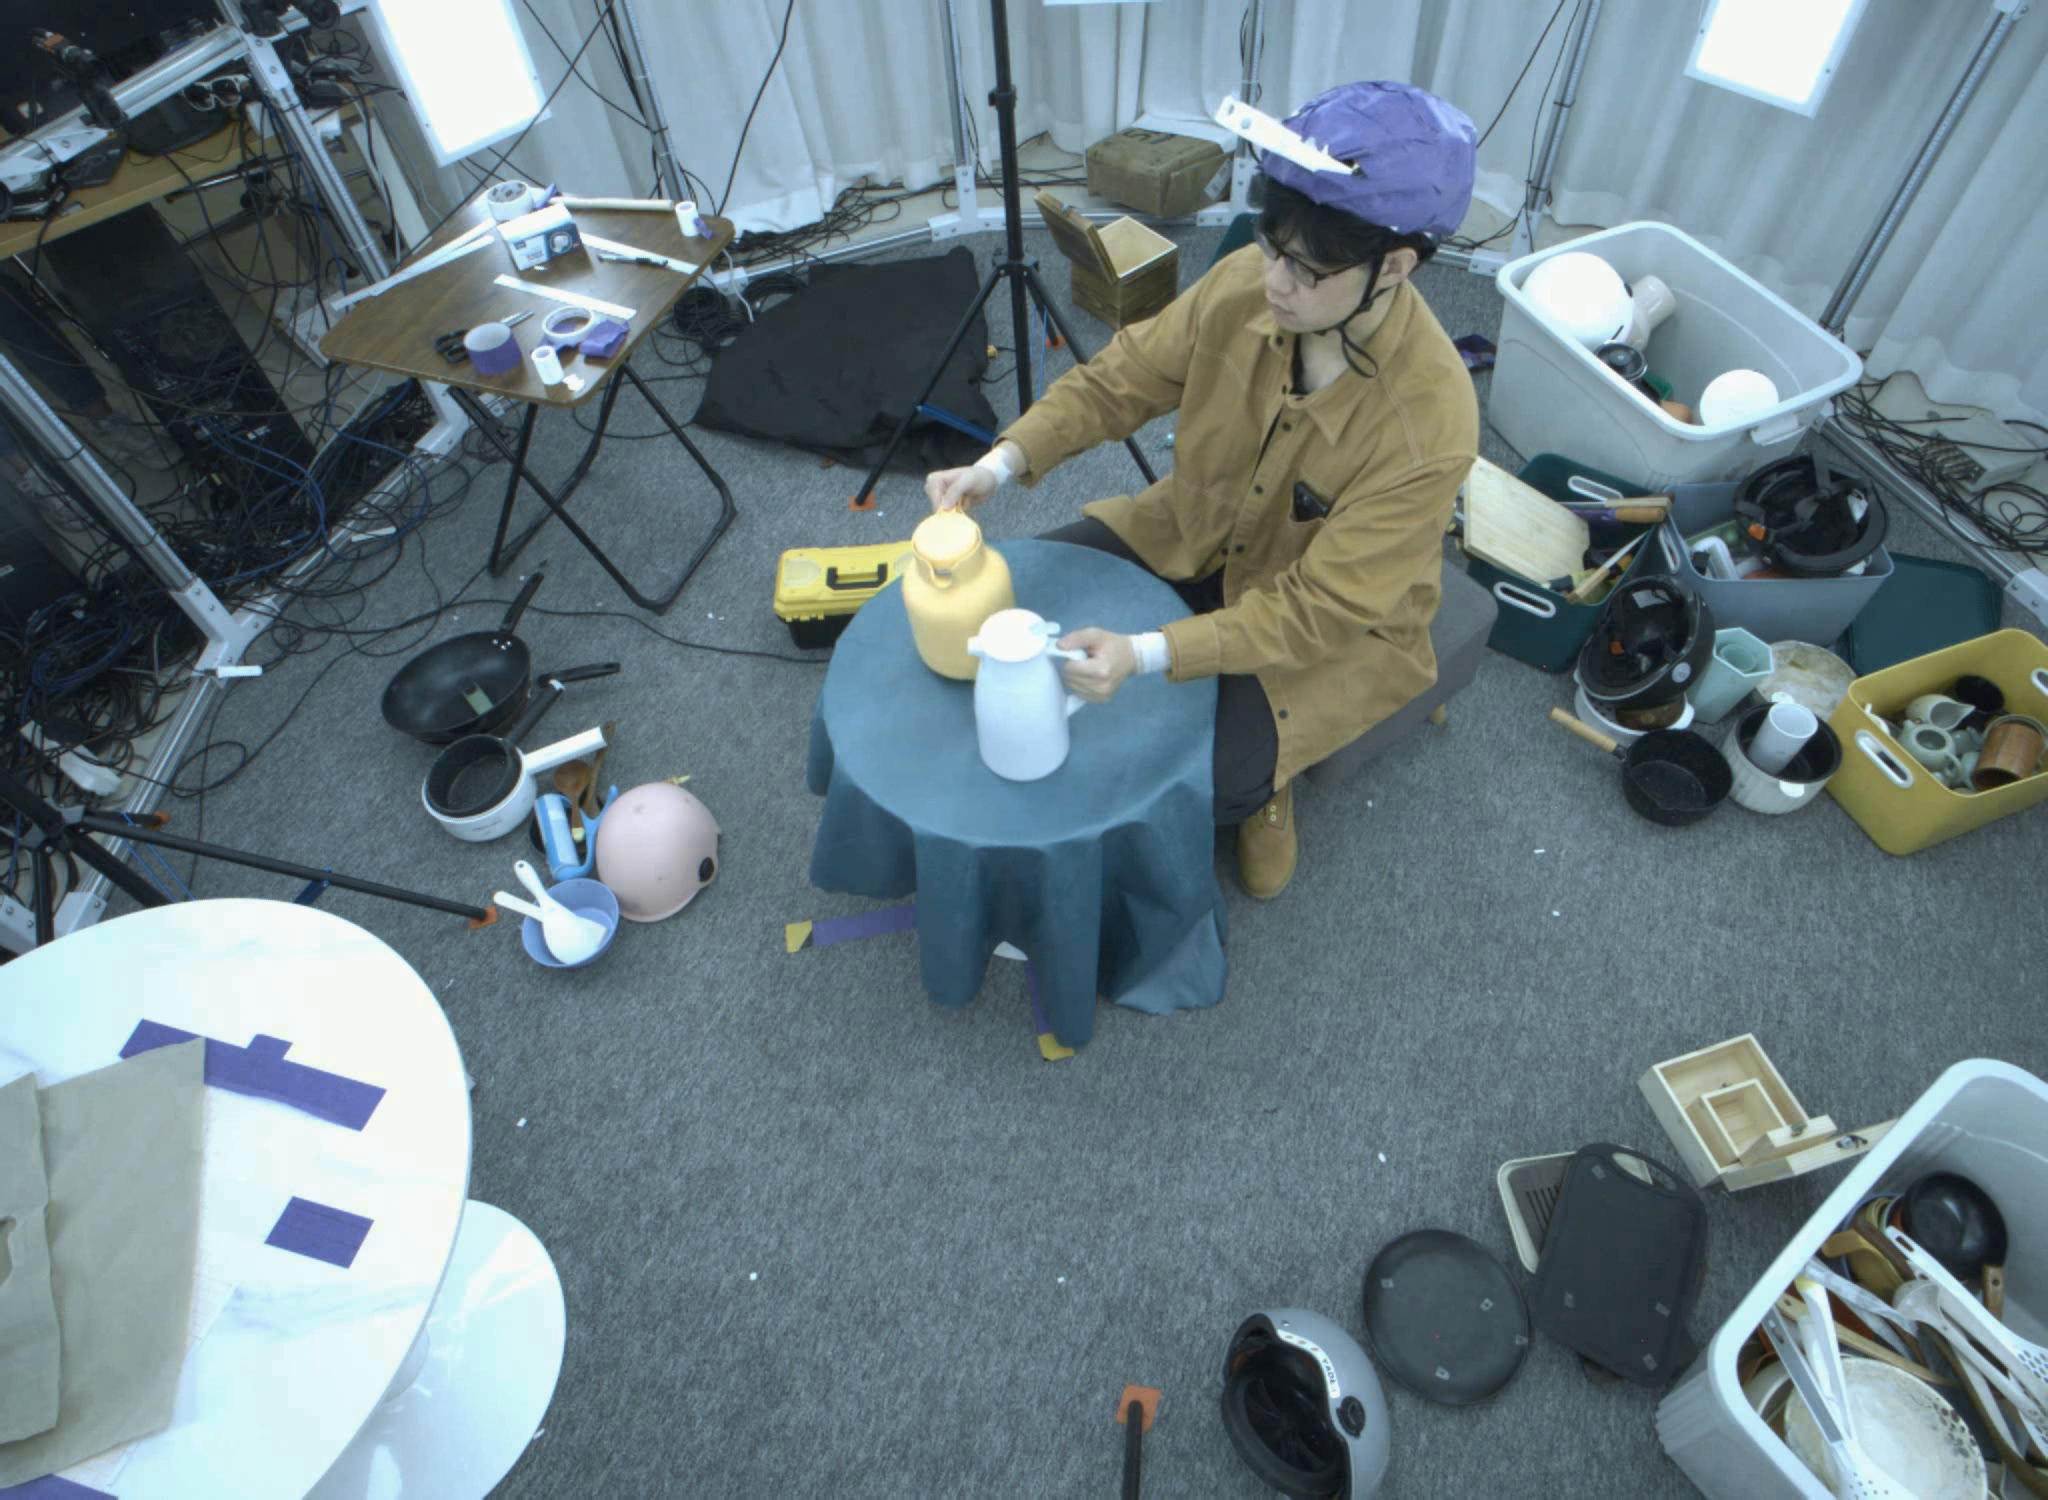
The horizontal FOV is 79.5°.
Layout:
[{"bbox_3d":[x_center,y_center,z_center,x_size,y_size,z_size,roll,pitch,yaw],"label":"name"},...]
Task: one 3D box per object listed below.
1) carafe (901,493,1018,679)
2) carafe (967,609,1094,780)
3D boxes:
[{"bbox_3d":[-0.094,-0.247,1.795,0.163,0.263,0.201,3,60,6],"label":"carafe"},{"bbox_3d":[0.012,-0.083,1.689,0.168,0.251,0.131,-4,54,0],"label":"carafe"}]
